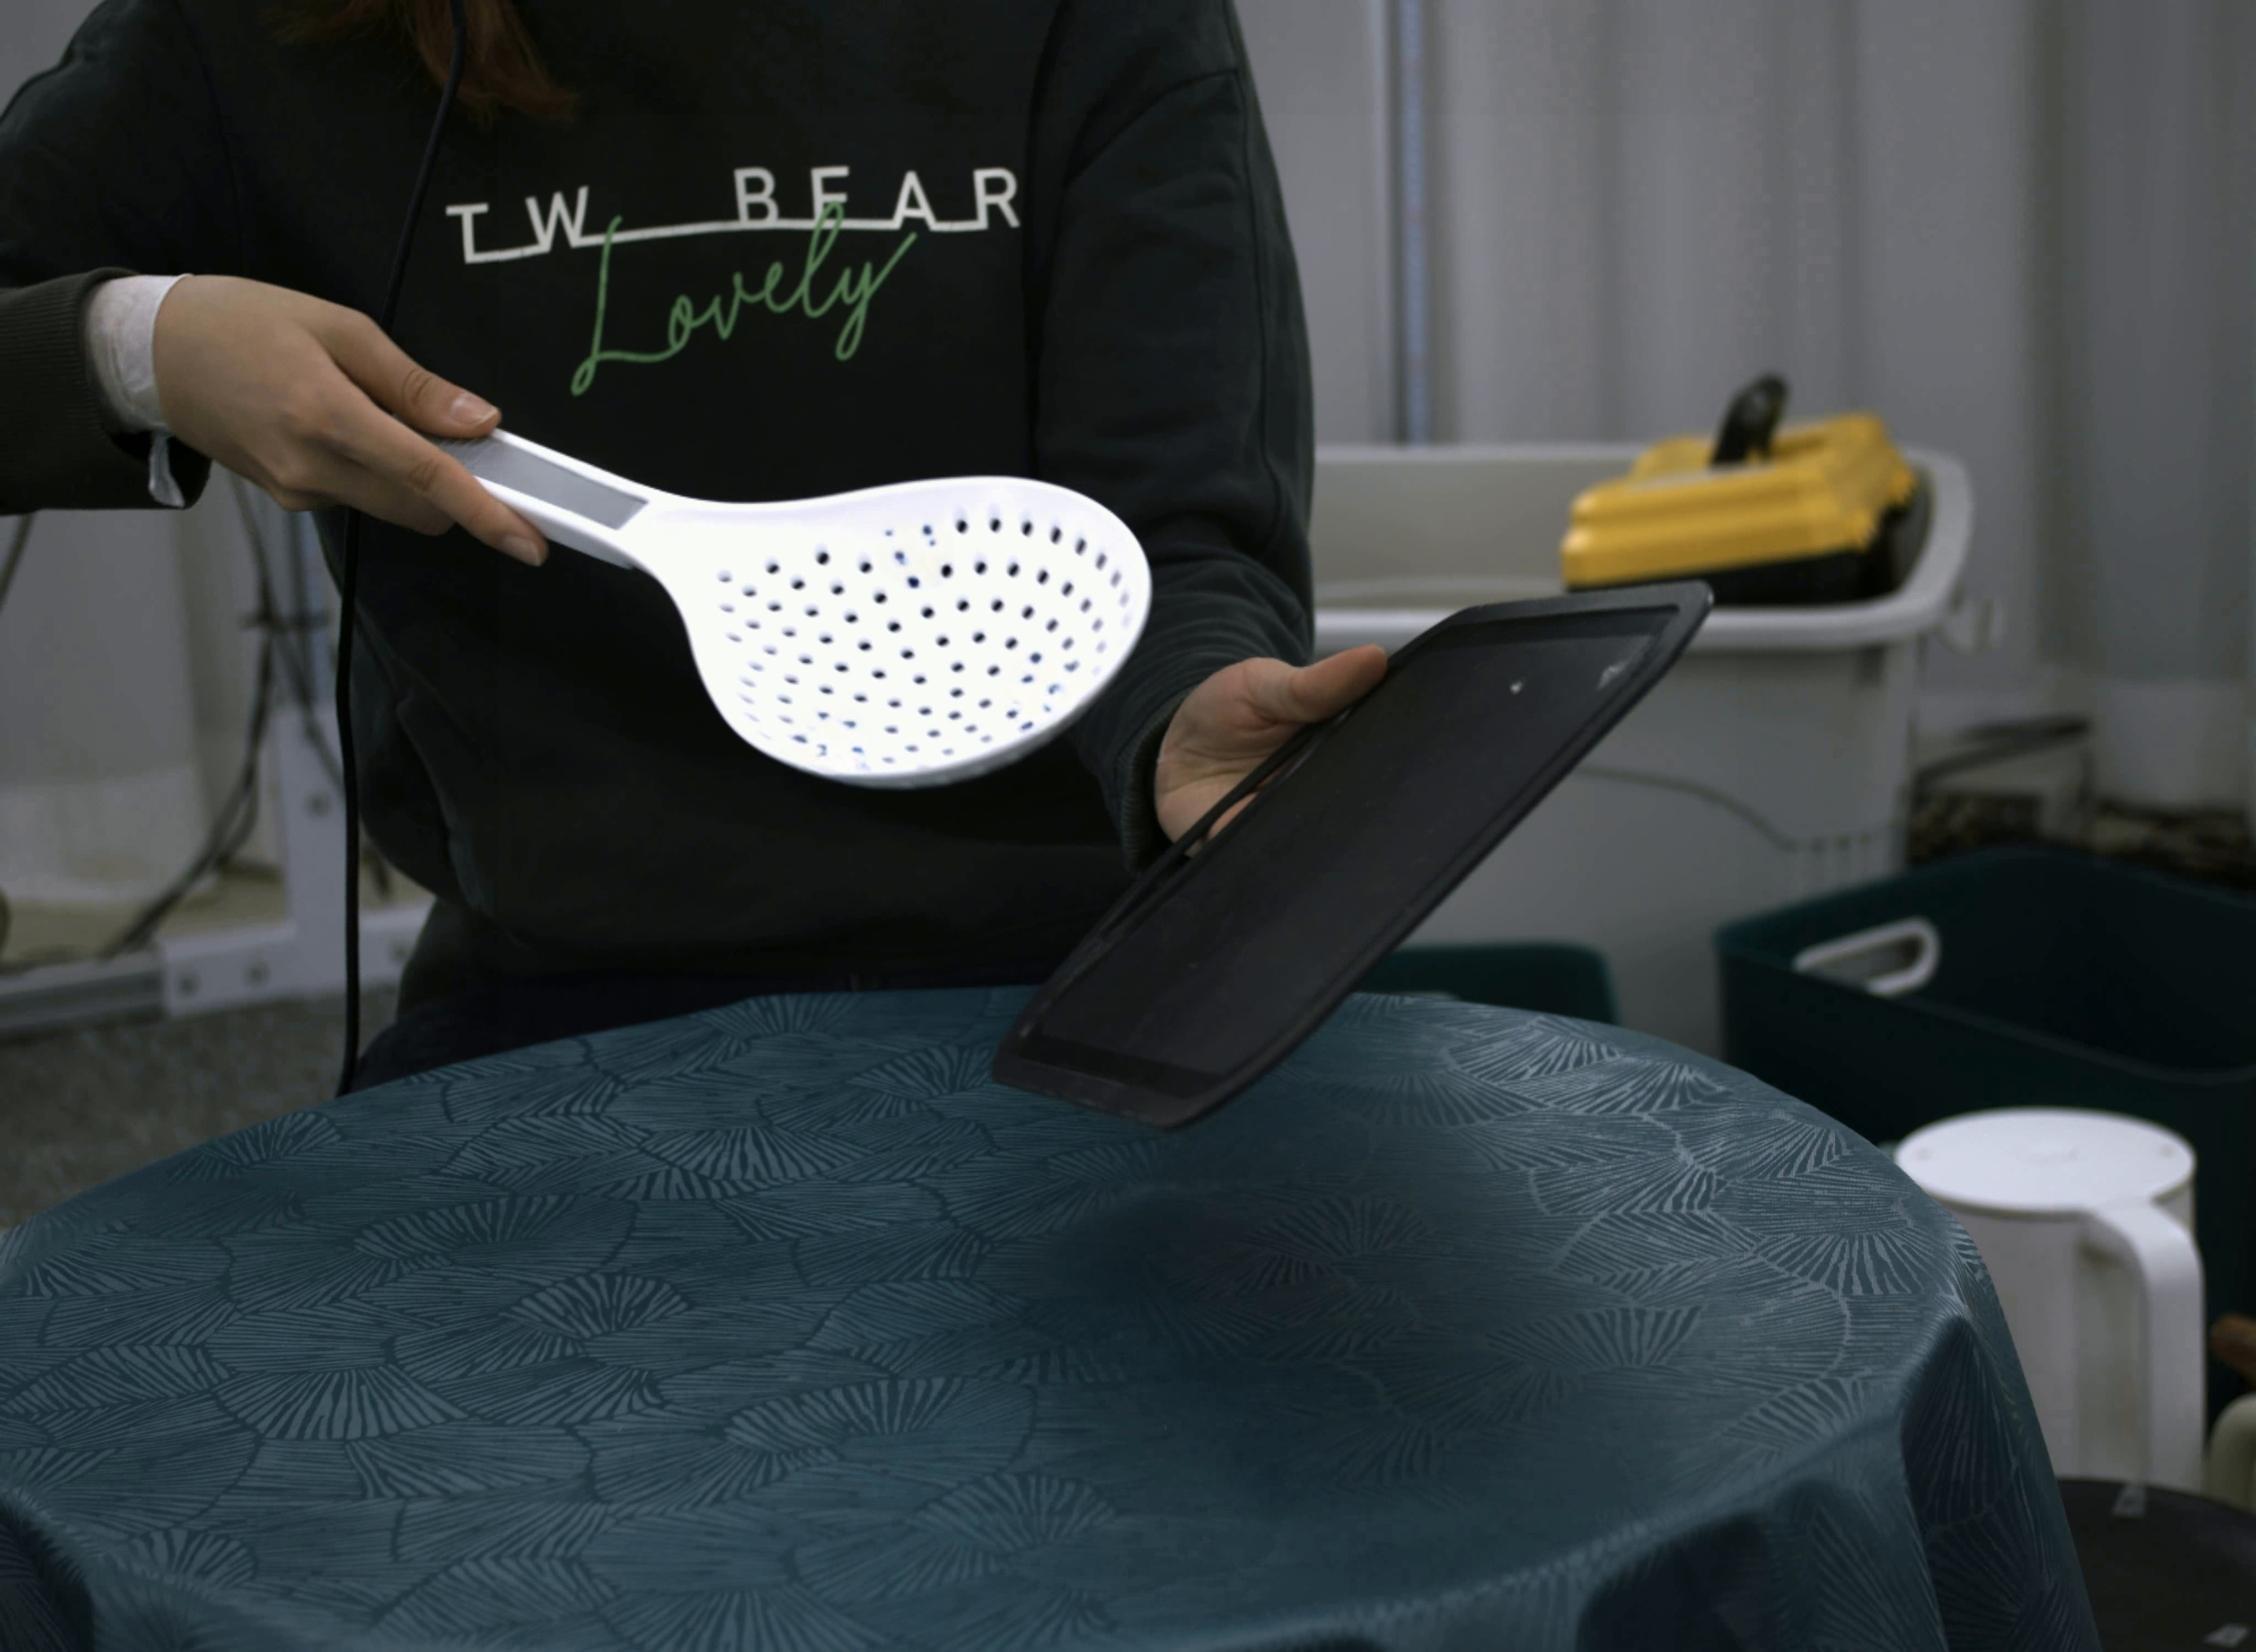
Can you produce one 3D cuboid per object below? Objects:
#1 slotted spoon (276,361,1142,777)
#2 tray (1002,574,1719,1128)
[{"bbox_3d":[-0.142,-0.090,1.710,0.352,0.045,0.137,25,52,33],"label":"slotted spoon"},{"bbox_3d":[0.056,0.005,1.574,0.211,0.010,0.326,-45,10,-9],"label":"tray"}]
